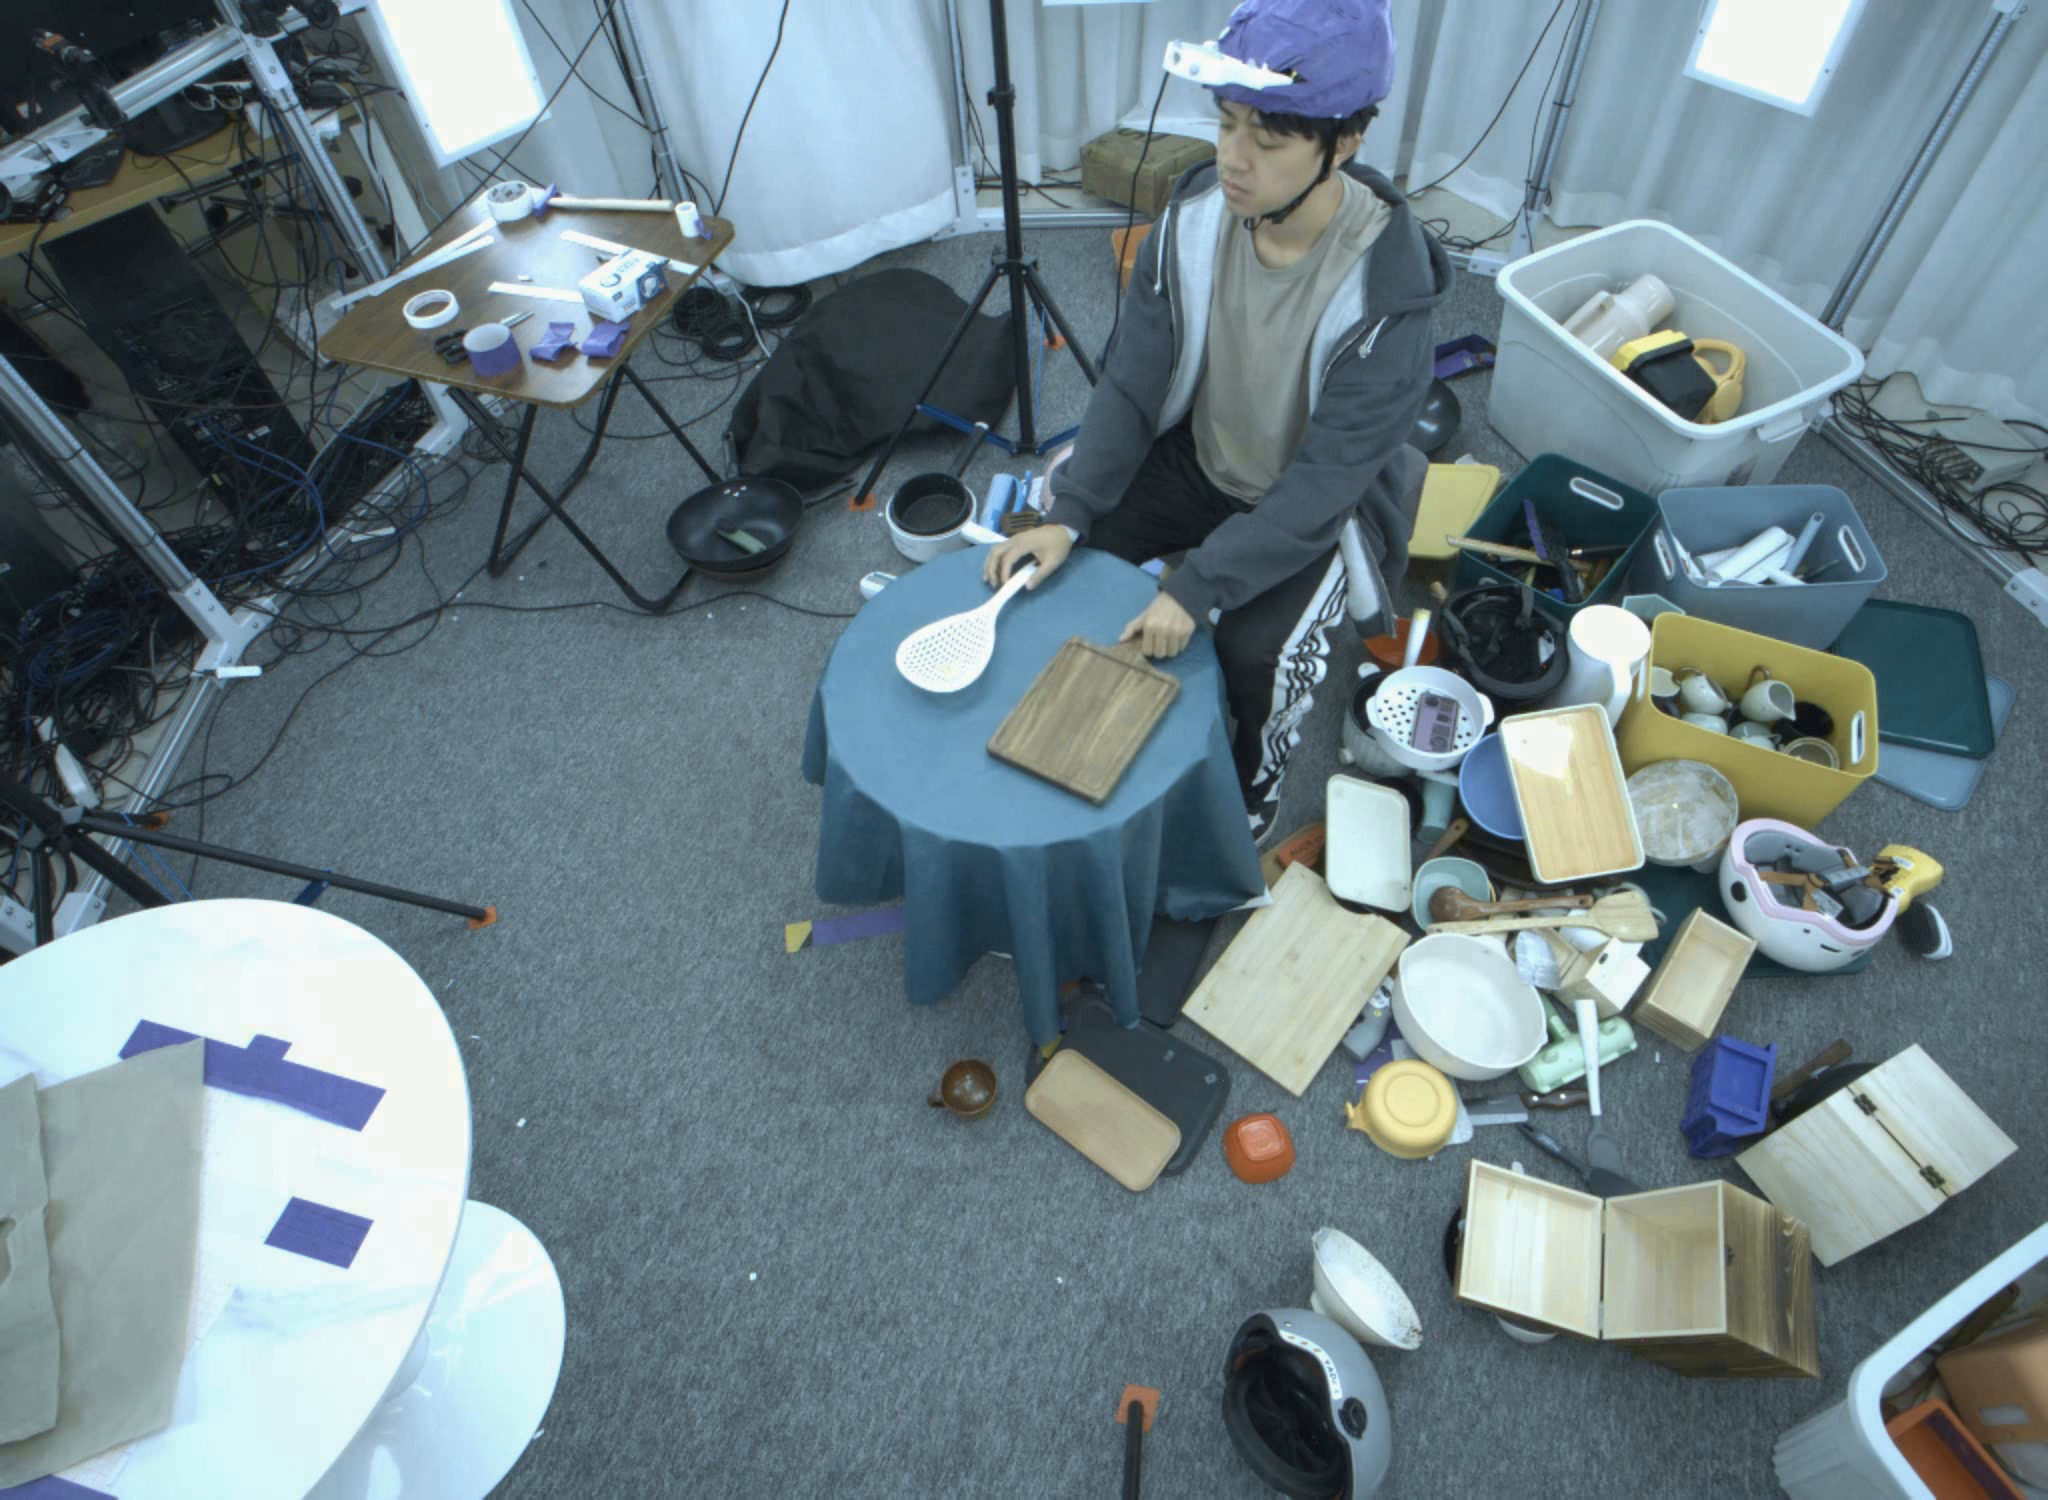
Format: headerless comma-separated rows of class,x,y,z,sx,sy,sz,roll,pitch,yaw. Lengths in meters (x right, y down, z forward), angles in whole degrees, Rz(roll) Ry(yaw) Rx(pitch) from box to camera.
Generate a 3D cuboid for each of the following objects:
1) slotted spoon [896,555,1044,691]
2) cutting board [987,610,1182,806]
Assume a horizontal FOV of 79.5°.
slotted spoon,-0.062,-0.207,1.913,0.135,0.051,0.349,27,60,20
cutting board,0.116,-0.085,1.834,0.198,0.023,0.353,25,60,18
